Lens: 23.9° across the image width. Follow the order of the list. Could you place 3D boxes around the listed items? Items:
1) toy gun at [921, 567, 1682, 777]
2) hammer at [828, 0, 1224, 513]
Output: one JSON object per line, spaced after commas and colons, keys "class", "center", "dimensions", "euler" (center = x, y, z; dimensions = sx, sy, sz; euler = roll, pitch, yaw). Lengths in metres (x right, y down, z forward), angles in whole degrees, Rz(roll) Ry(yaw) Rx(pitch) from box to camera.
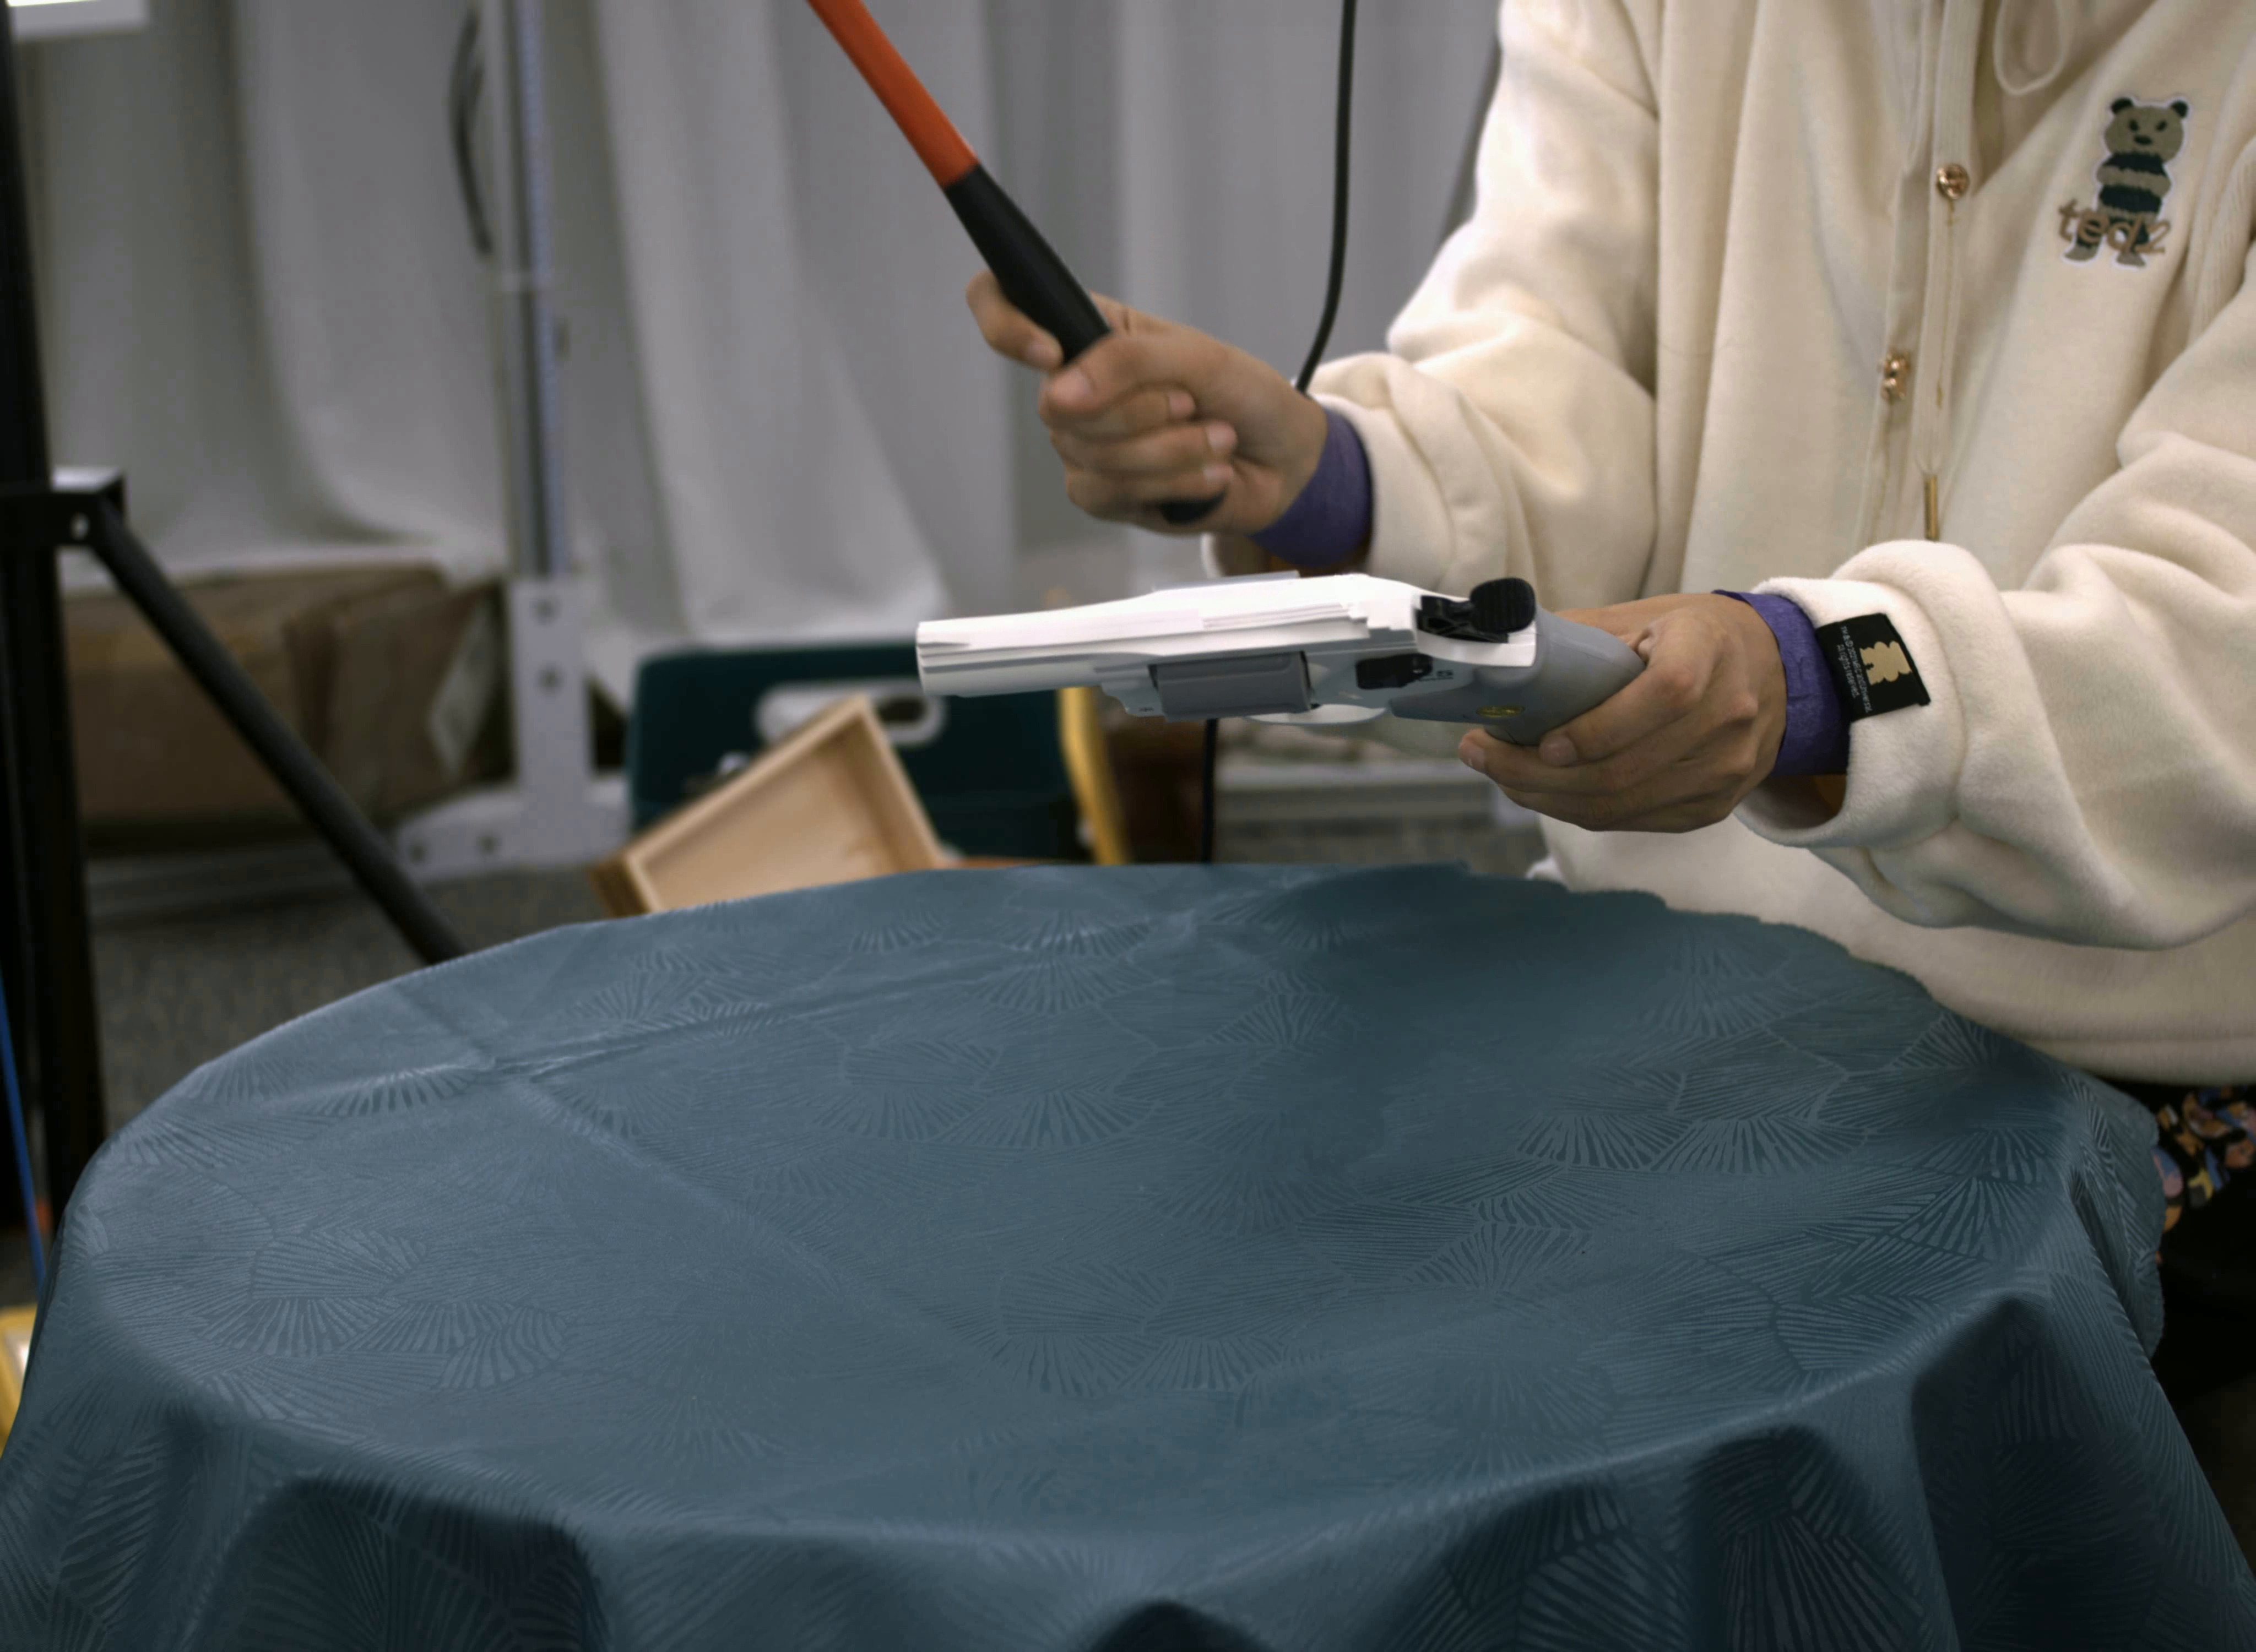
{"class": "toy gun", "center": [0.051, -0.042, 1.478], "dimensions": [0.209, 0.039, 0.140], "euler": [-3, -13, 5]}
{"class": "hammer", "center": [-0.055, -0.217, 1.689], "dimensions": [0.026, 0.276, 0.112], "euler": [-36, 8, -10]}
